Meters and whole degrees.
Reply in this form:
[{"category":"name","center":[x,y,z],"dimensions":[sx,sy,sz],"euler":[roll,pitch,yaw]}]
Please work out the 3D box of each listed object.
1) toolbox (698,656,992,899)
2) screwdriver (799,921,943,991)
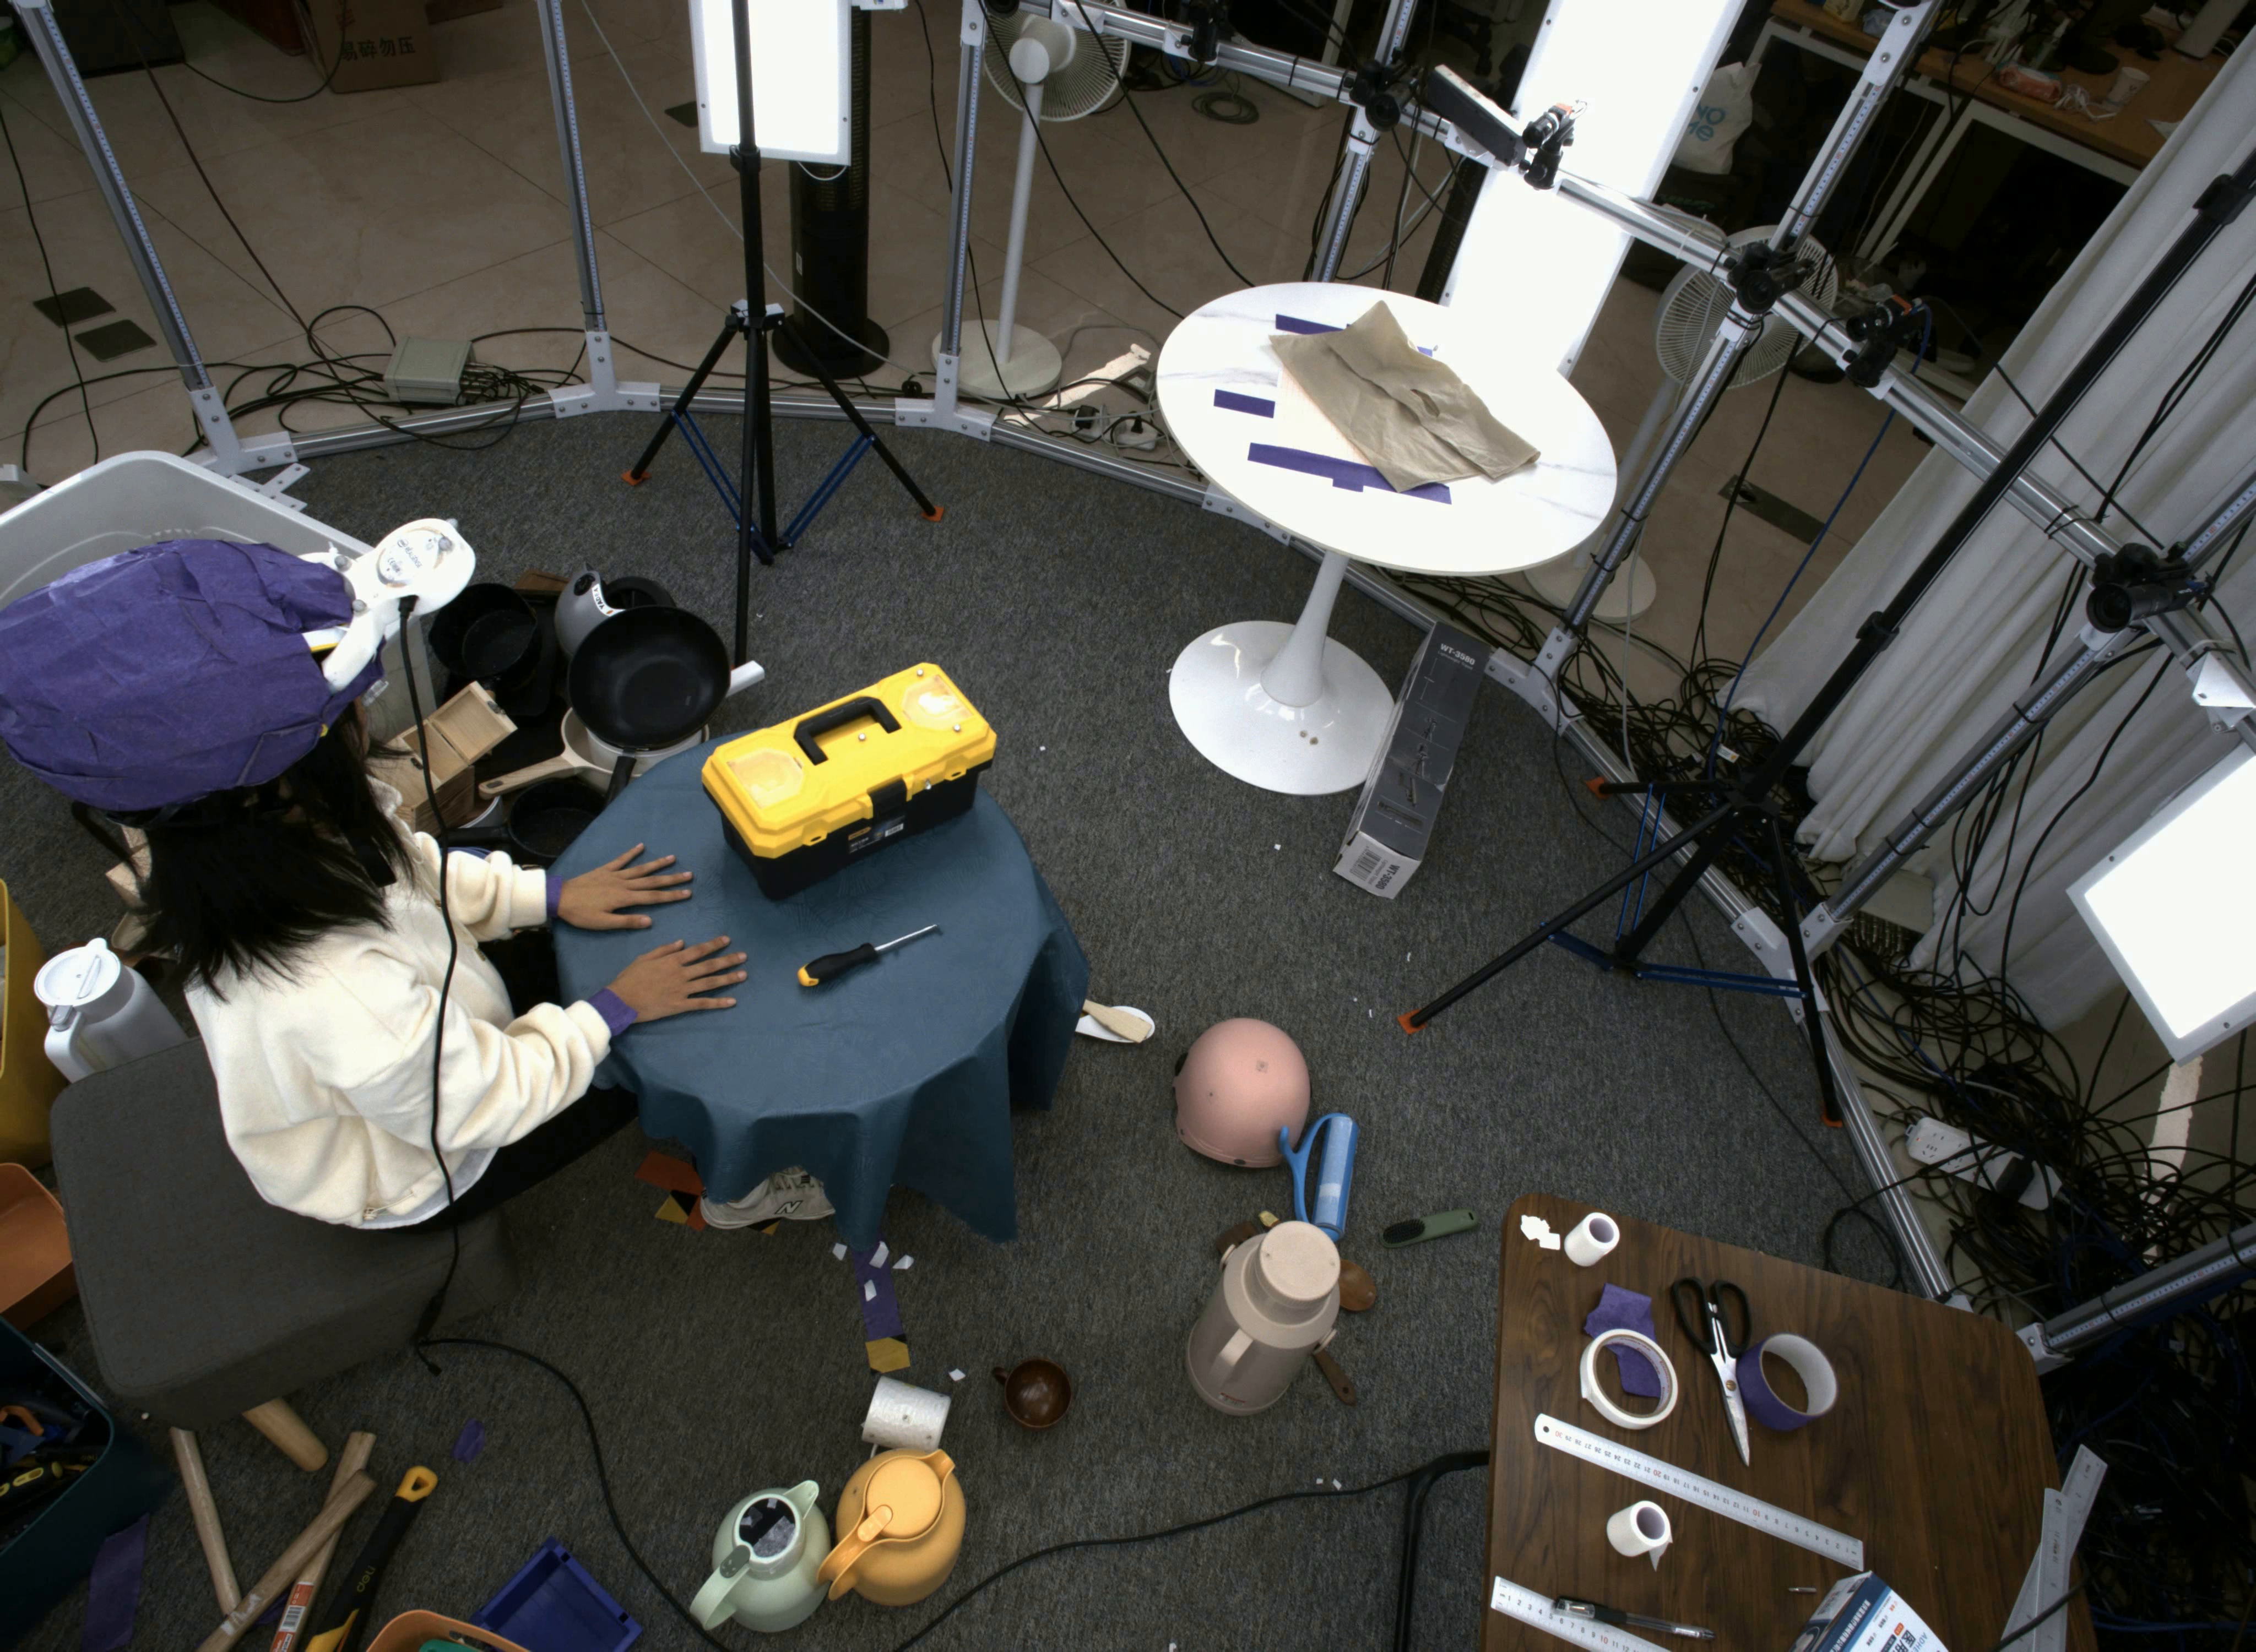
[{"category":"toolbox","center":[-0.357,-0.061,1.670],"dimensions":[0.353,0.176,0.177],"euler":[-28,63,-30]},{"category":"screwdriver","center":[-0.318,0.158,1.622],"dimensions":[0.199,0.032,0.030],"euler":[-20,59,-32]}]
